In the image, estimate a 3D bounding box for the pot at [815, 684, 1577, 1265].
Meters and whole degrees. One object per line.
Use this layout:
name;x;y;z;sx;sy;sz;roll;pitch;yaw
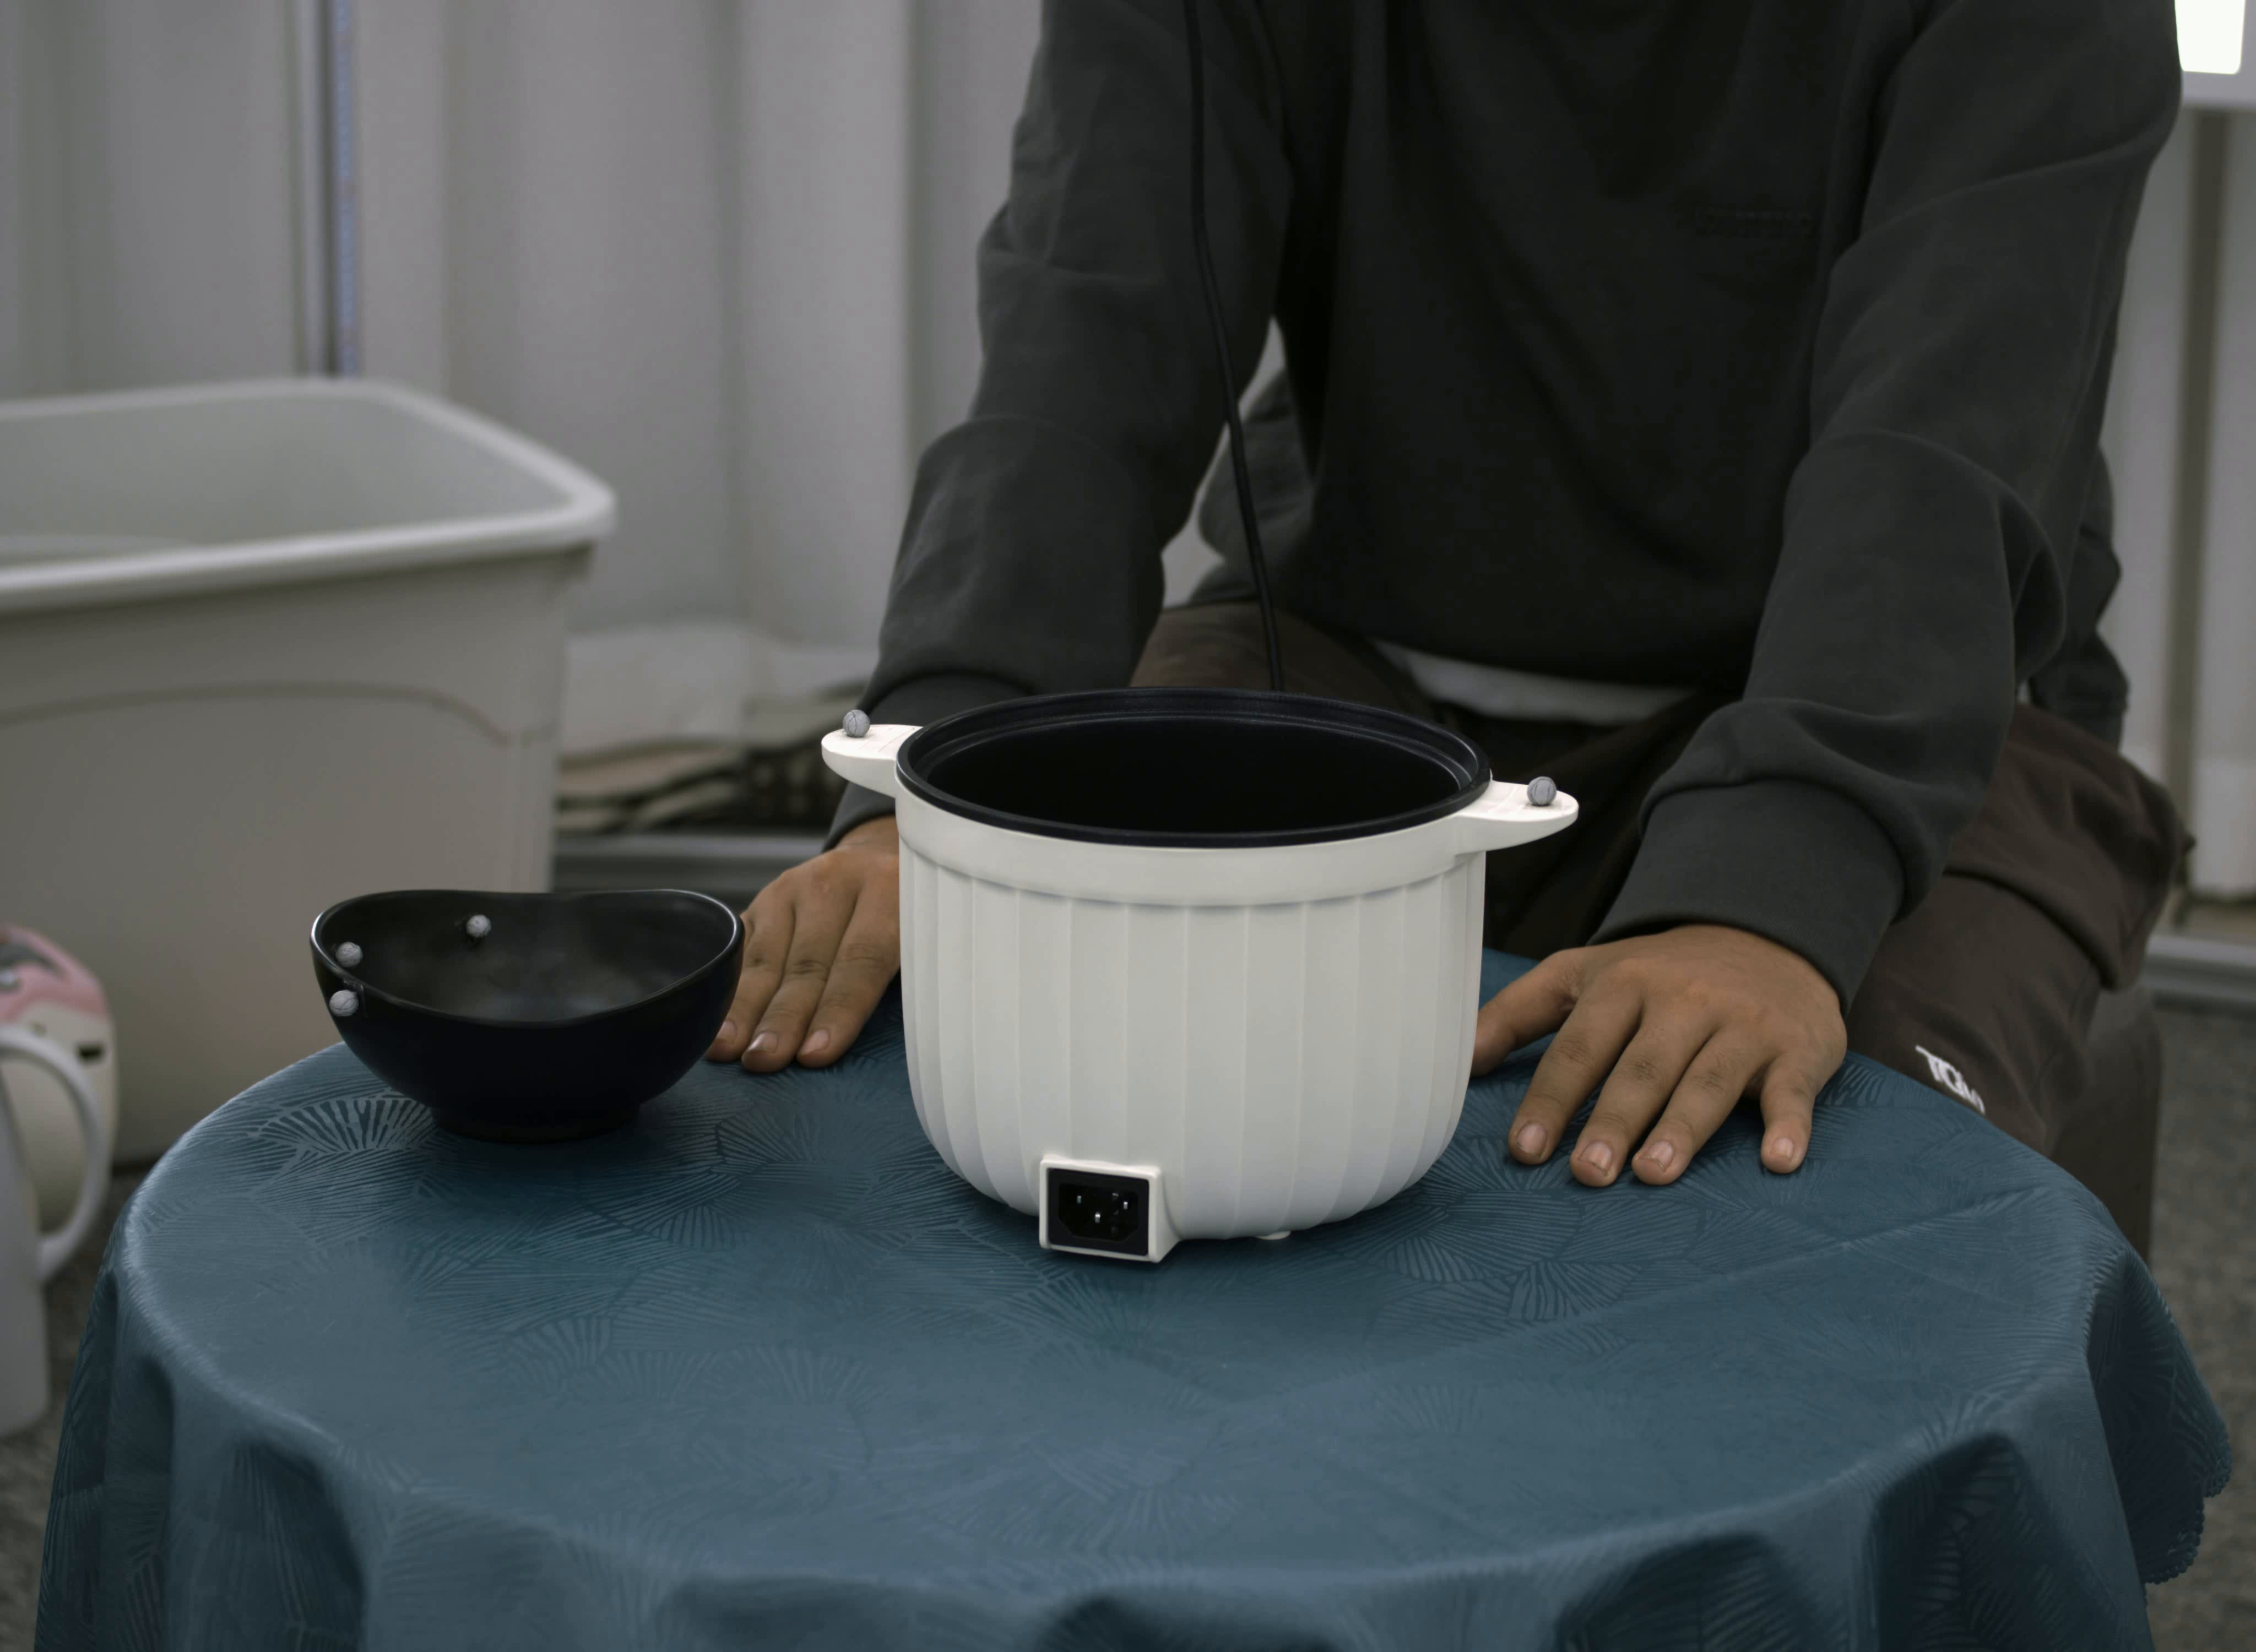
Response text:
pot;0.019;0.042;1.624;0.238;0.144;0.190;7;20;16

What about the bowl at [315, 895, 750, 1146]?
bowl;-0.189;0.062;1.679;0.137;0.067;0.169;0;14;-5
